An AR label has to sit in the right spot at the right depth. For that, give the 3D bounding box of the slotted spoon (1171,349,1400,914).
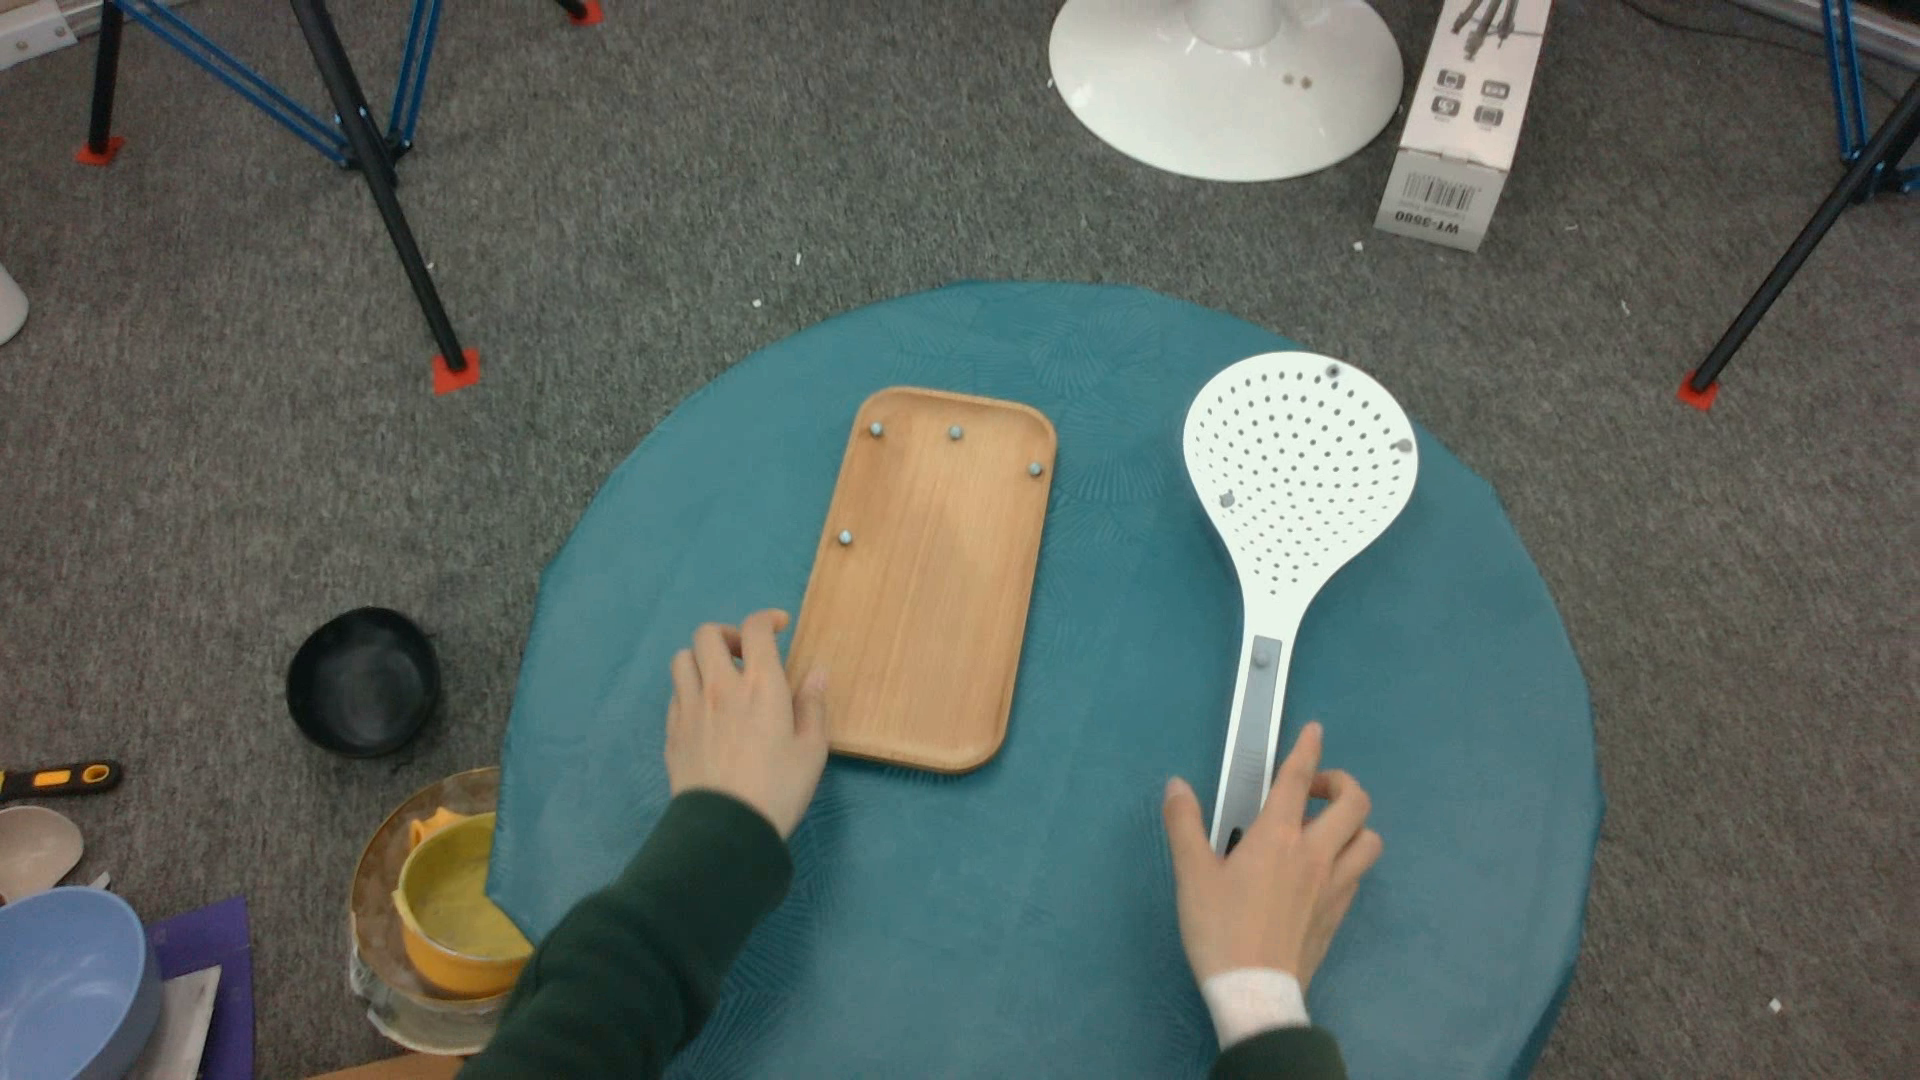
[{"bbox_3d":[0.167,0.037,0.776,0.136,0.045,0.351,12,58,8],"label":"slotted spoon"}]

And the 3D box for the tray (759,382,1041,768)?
[{"bbox_3d":[-0.029,0.013,0.802,0.130,0.023,0.252,8,57,6],"label":"tray"}]
